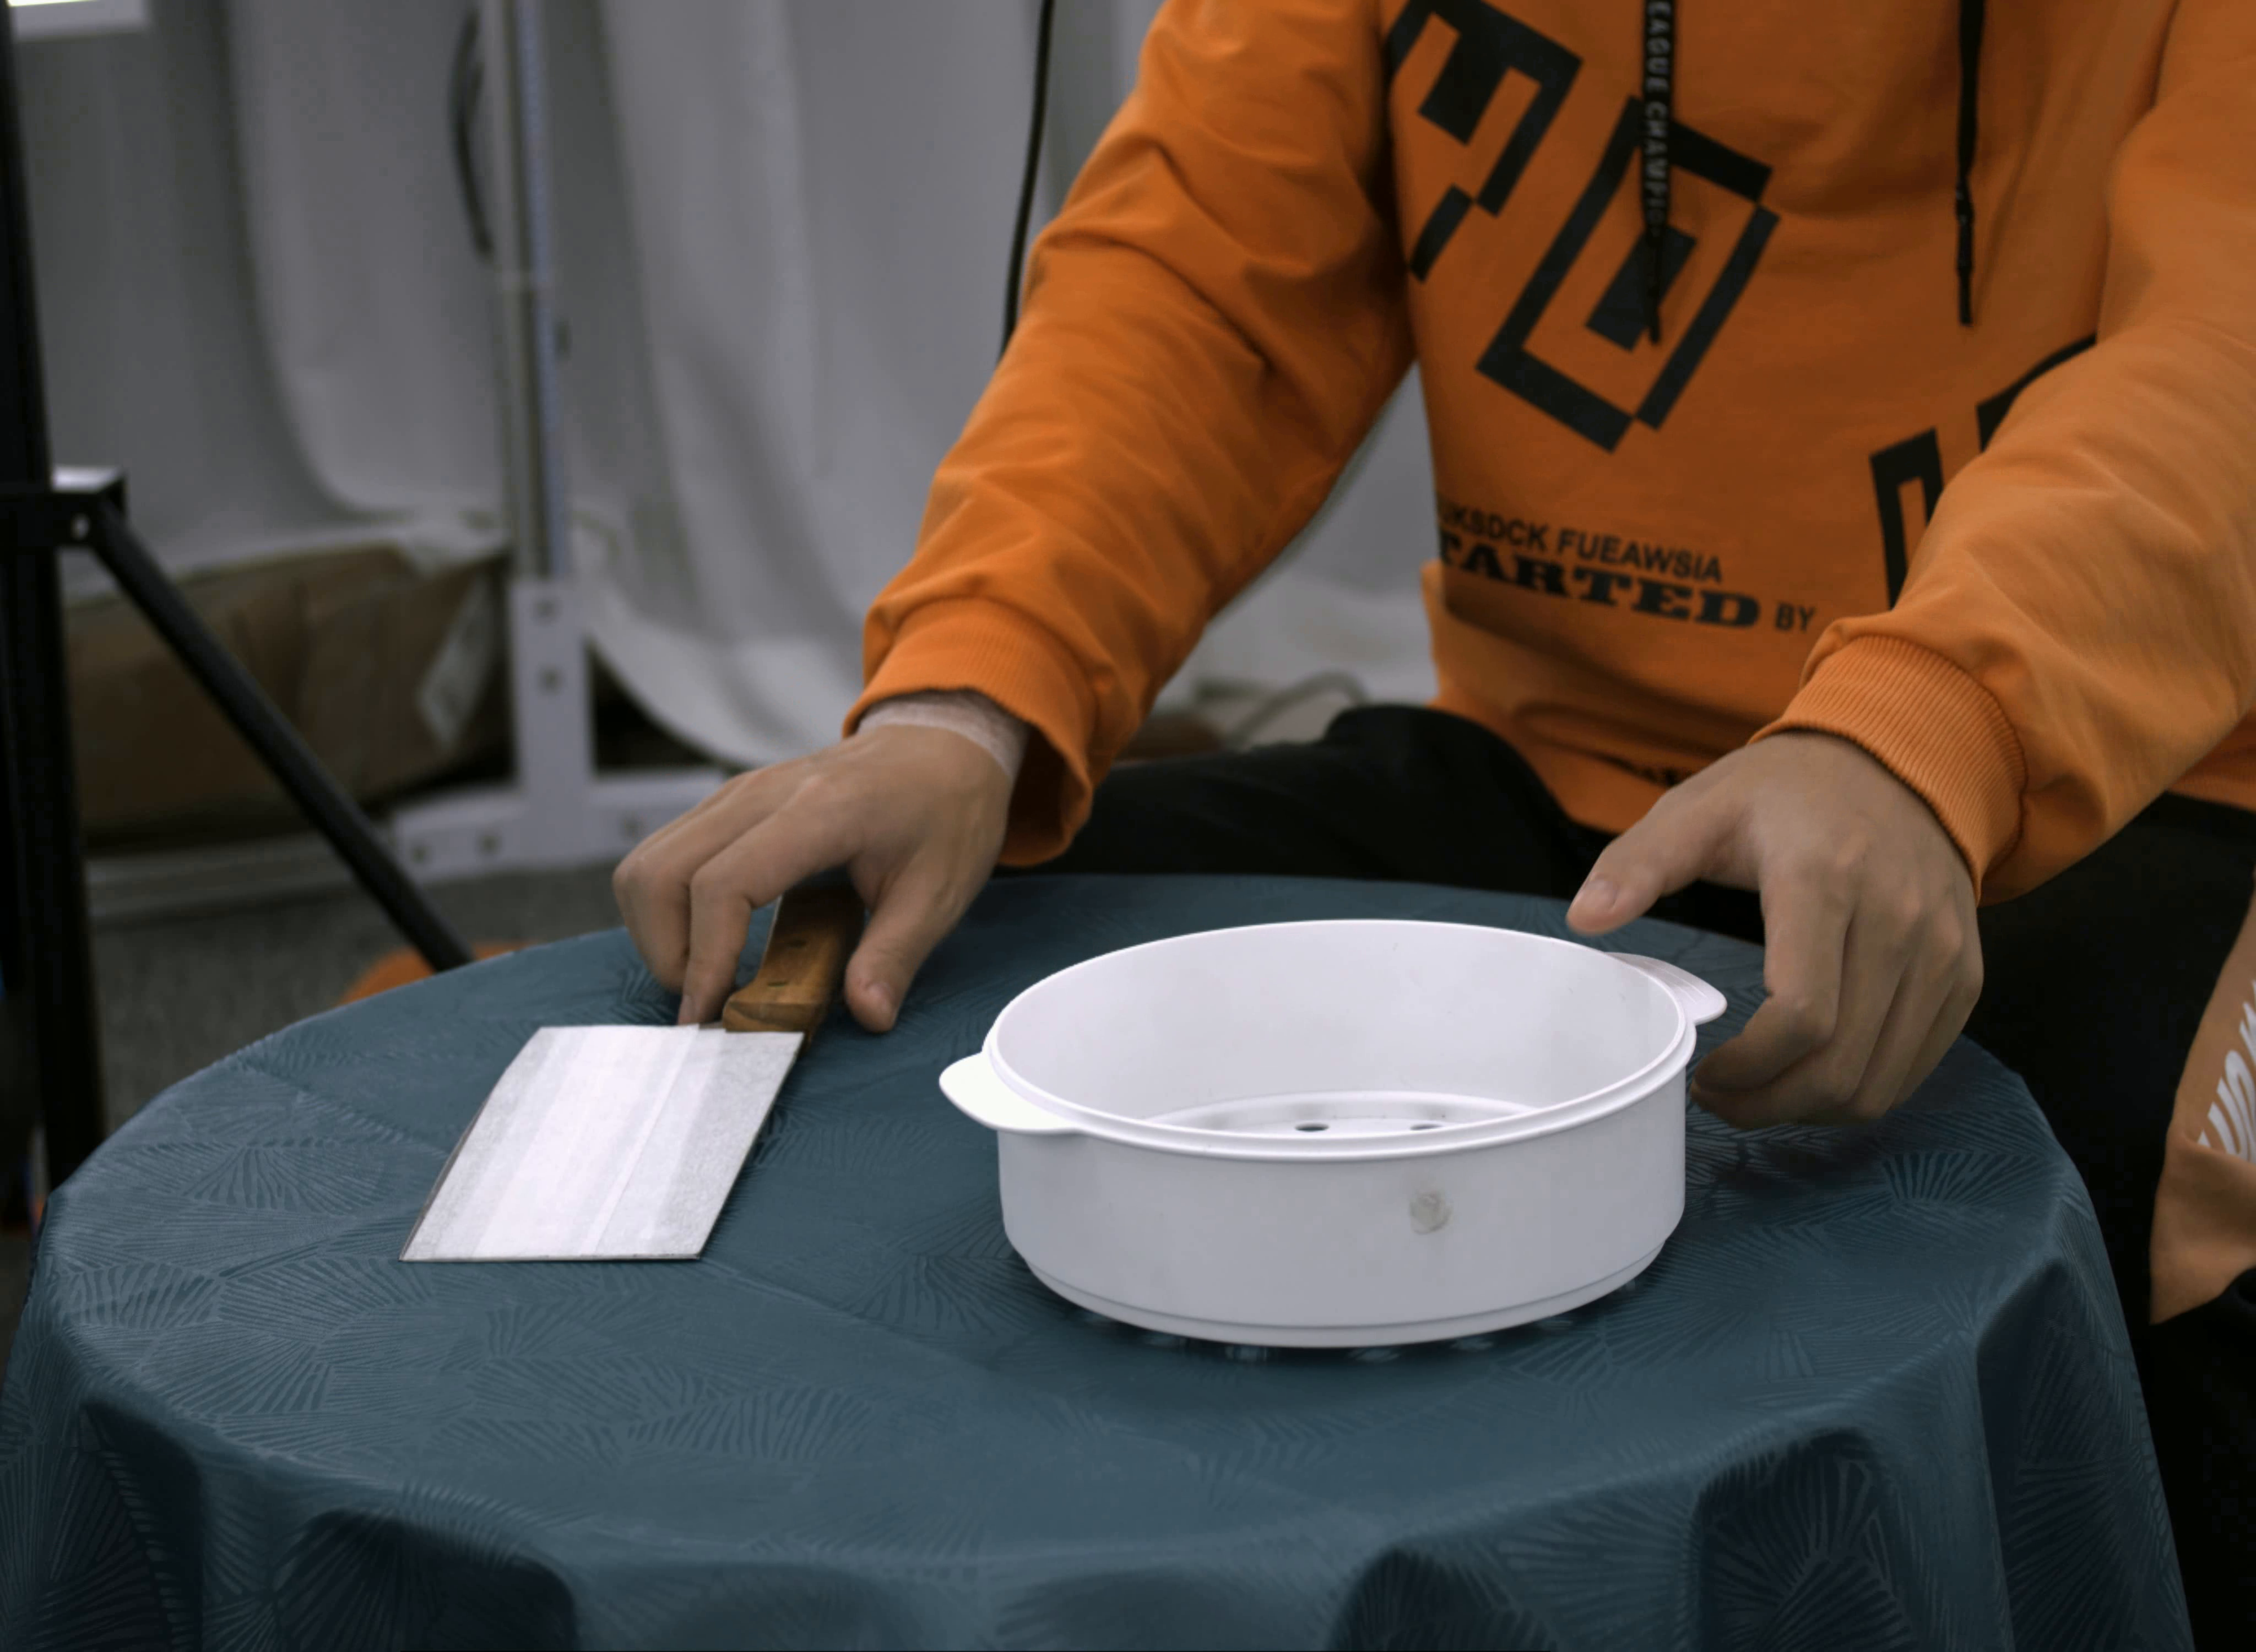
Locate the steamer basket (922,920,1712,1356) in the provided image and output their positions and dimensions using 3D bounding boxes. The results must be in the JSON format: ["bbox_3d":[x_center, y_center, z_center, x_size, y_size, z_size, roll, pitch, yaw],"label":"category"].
[{"bbox_3d":[0.056,0.088,1.494,0.226,0.069,0.205,-10,17,-19],"label":"steamer basket"}]

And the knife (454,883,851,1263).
[{"bbox_3d":[-0.147,0.076,1.669,0.093,0.021,0.305,-2,18,8],"label":"knife"}]
